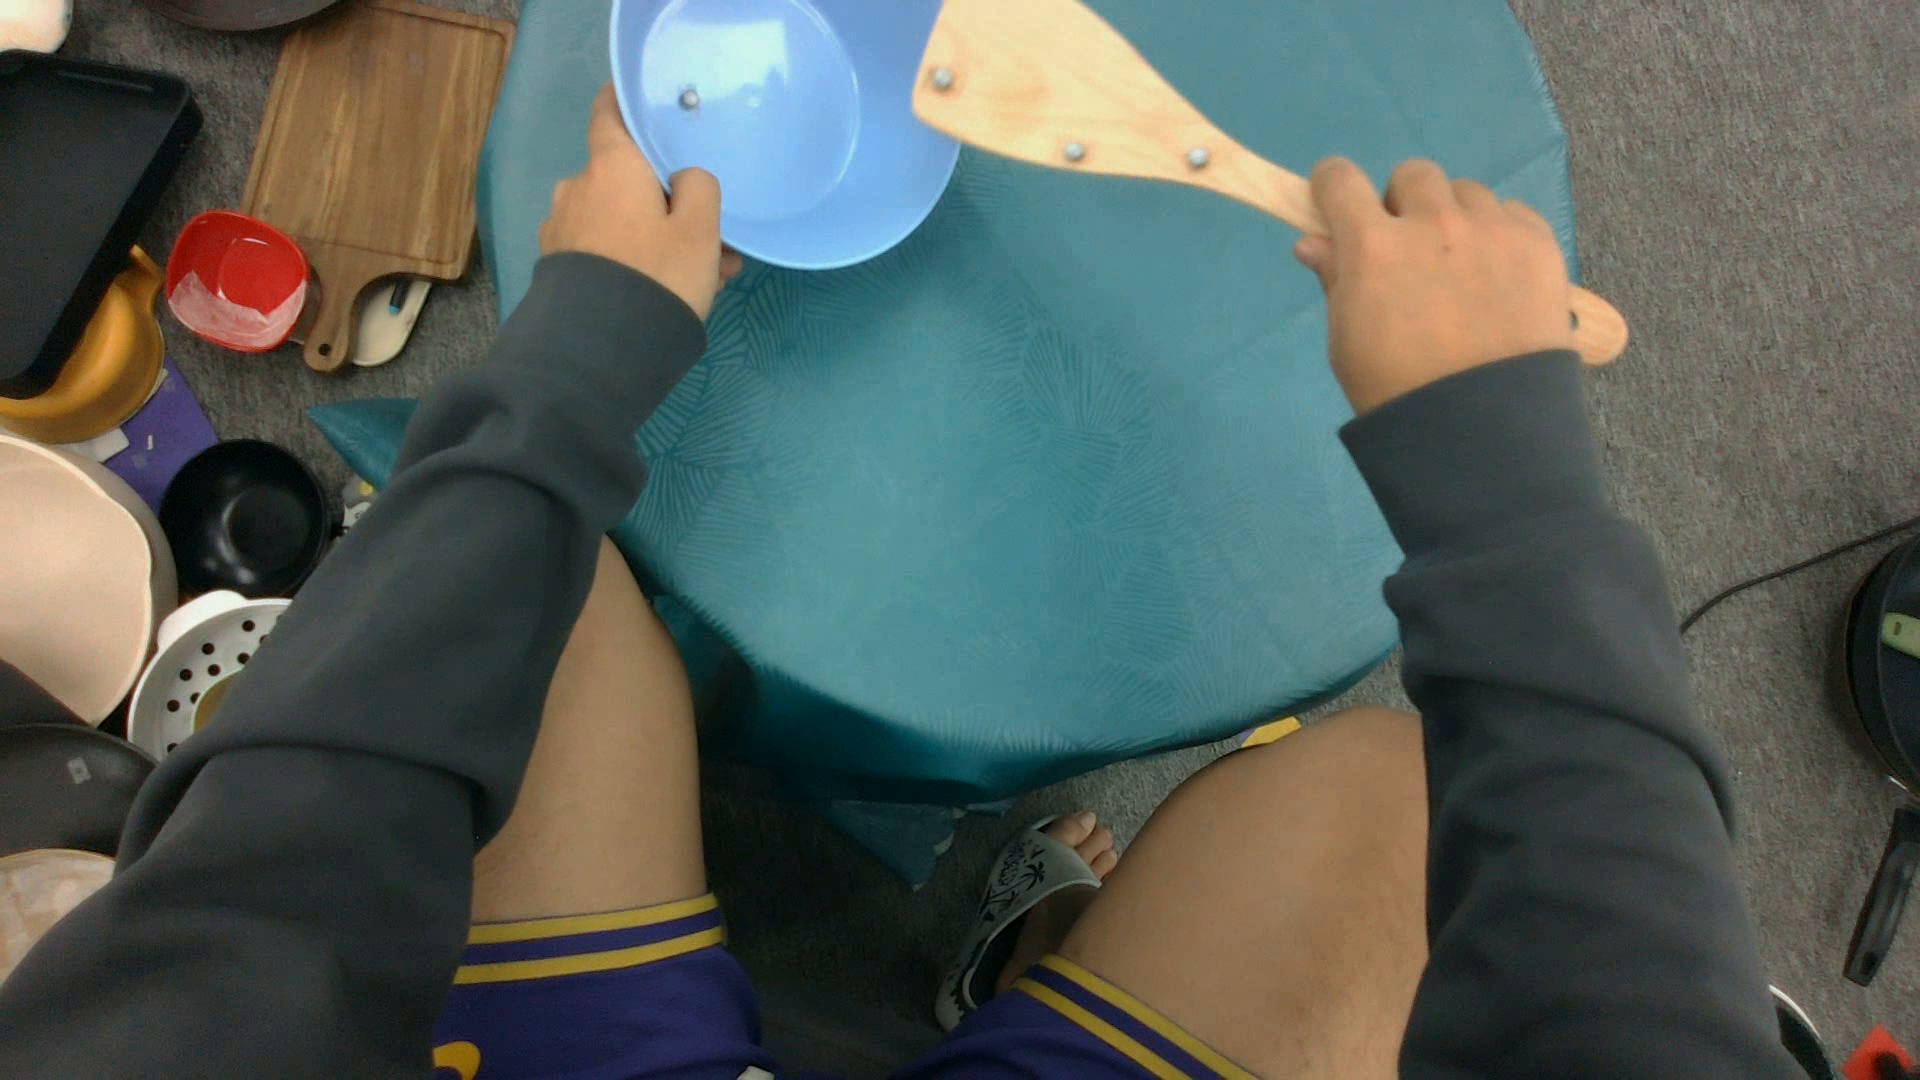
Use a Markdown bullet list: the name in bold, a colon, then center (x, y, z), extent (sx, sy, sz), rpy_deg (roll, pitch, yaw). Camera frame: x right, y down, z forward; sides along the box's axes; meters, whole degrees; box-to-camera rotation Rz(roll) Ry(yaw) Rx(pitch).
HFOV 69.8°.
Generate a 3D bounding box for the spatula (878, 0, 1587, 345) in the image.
- **spatula**: center (0.102, -0.157, 0.578), extent (0.327, 0.016, 0.080), rpy_deg (30, 94, 21)

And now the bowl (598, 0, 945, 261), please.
- **bowl**: center (-0.095, -0.220, 0.657), extent (0.176, 0.070, 0.176), rpy_deg (-4, 97, -32)
